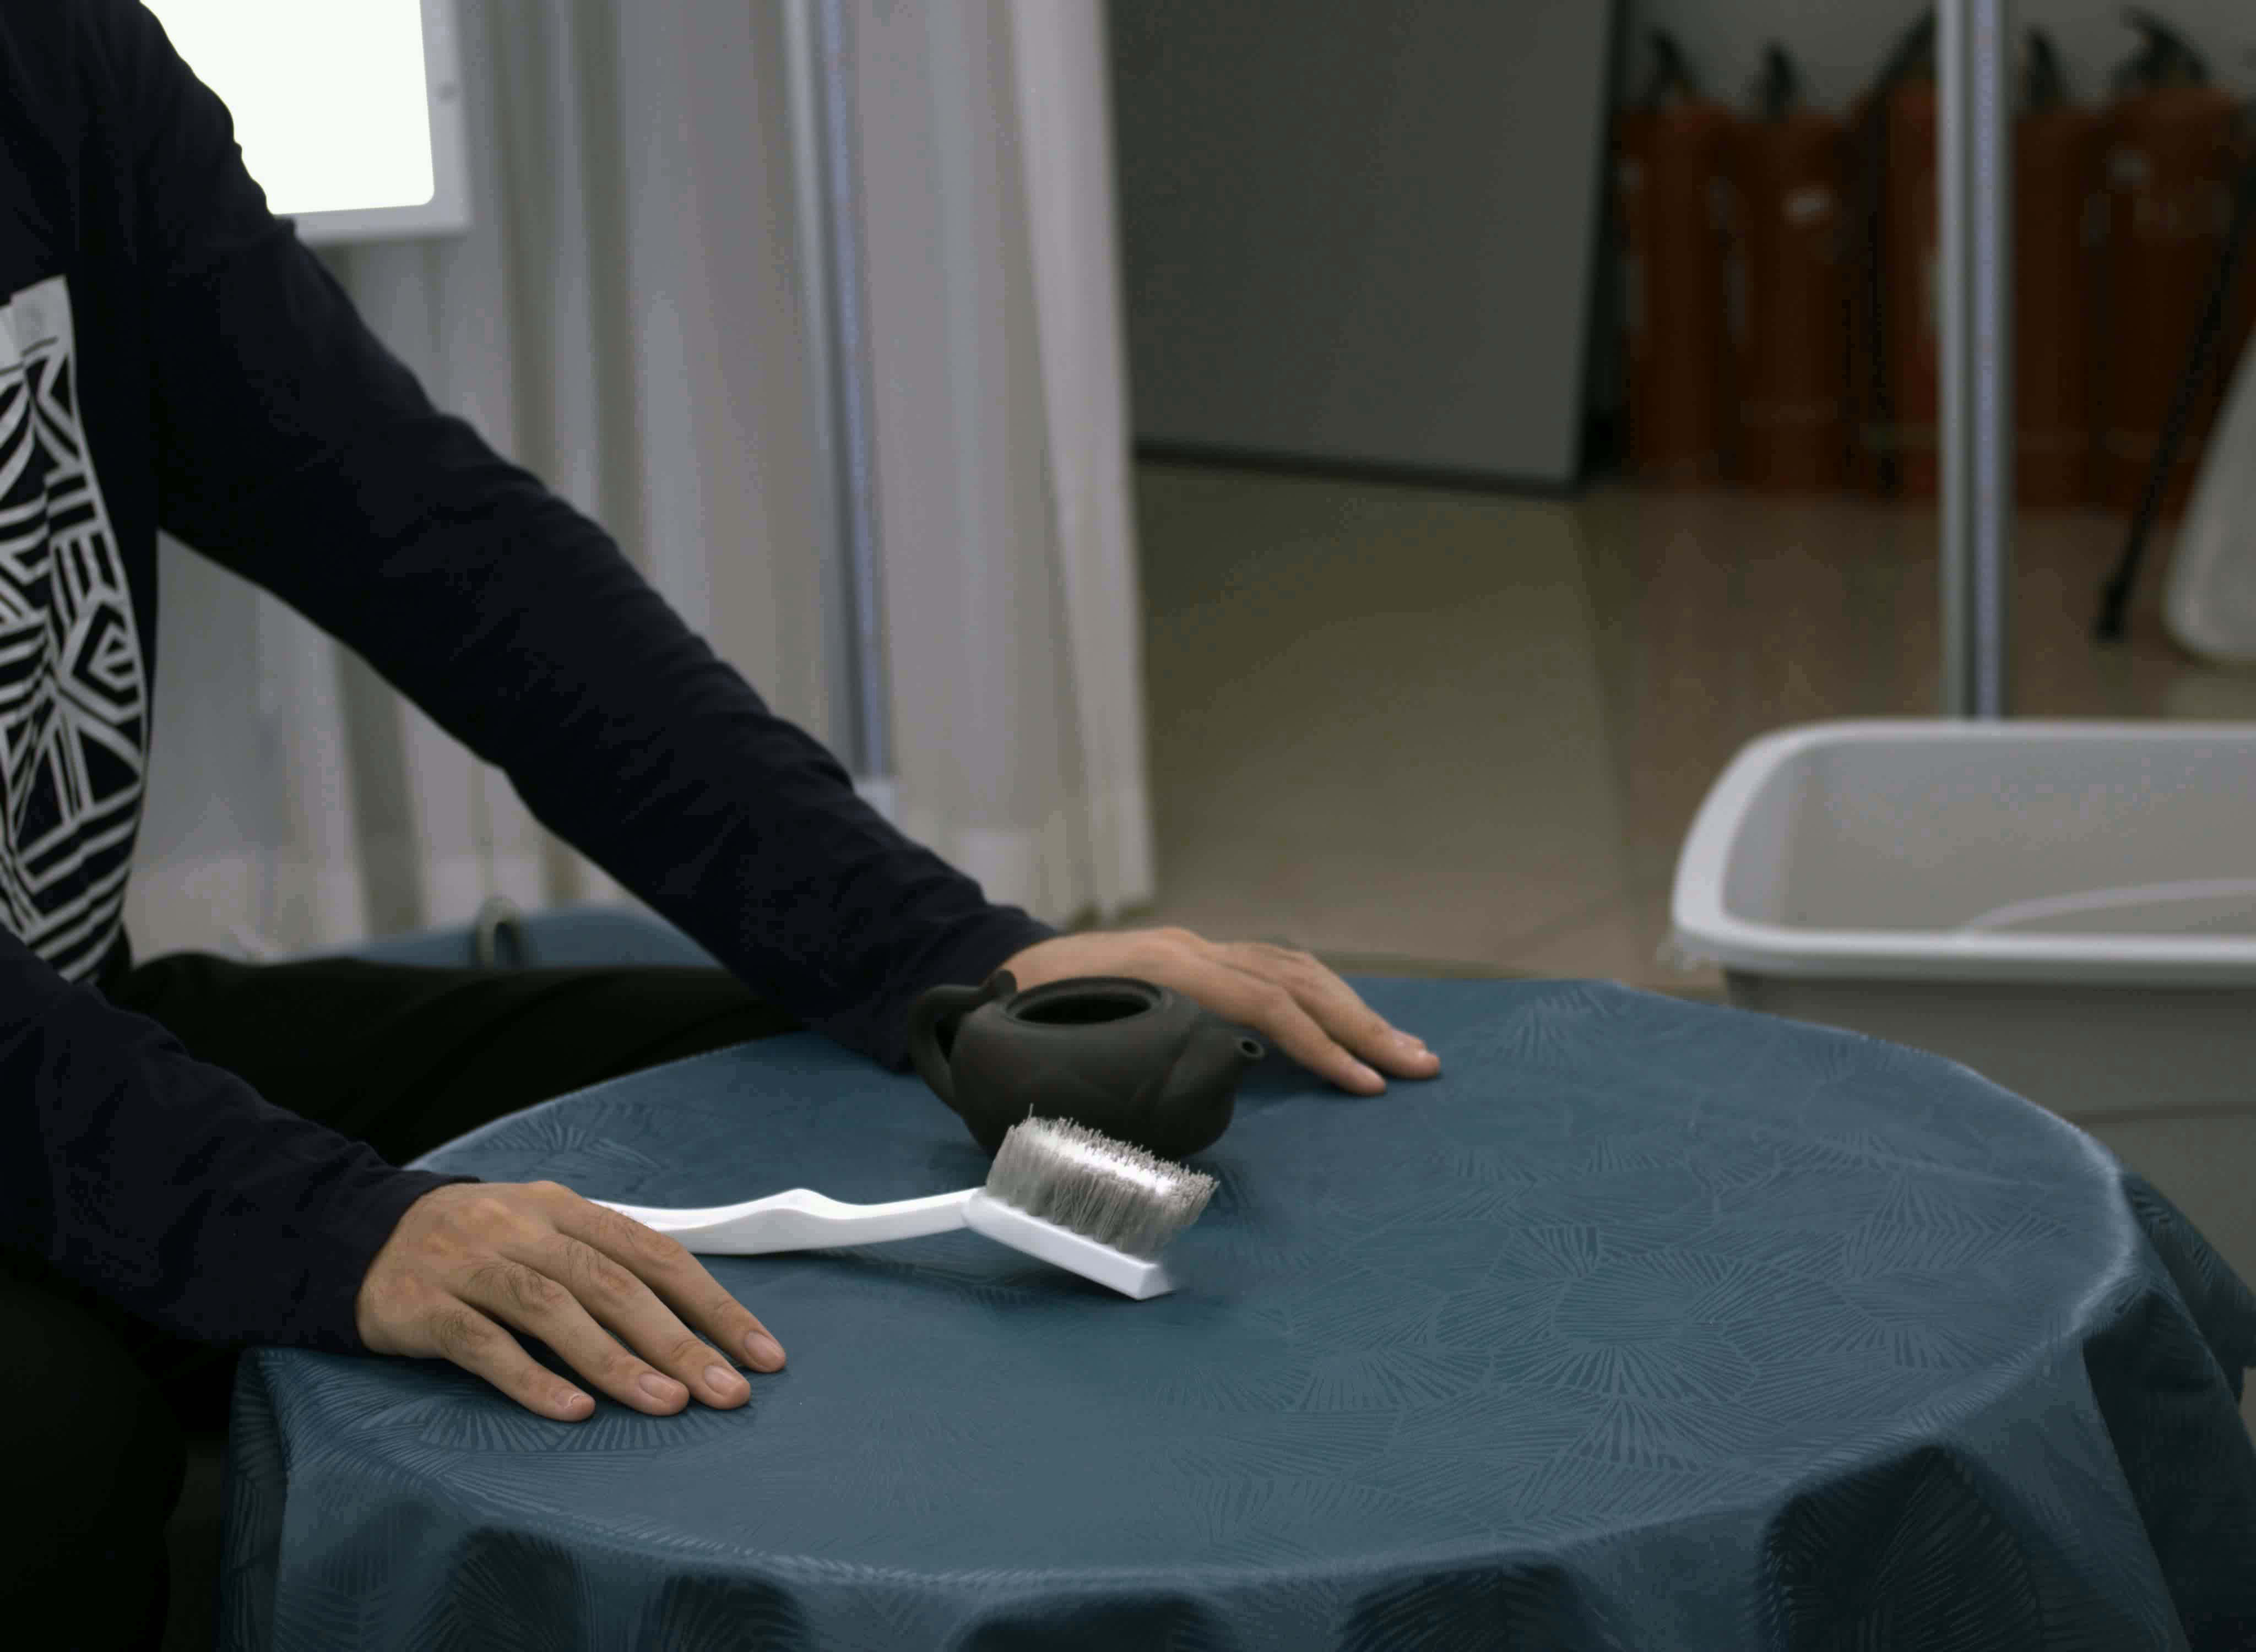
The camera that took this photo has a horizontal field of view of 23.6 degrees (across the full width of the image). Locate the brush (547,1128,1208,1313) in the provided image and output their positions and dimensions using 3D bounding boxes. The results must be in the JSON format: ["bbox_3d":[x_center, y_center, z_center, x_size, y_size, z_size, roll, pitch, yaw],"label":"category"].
[{"bbox_3d":[-0.085,0.117,1.721,0.244,0.051,0.034,4,20,30],"label":"brush"}]

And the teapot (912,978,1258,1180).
[{"bbox_3d":[-0.015,0.086,1.799,0.155,0.065,0.090,7,18,42],"label":"teapot"}]
